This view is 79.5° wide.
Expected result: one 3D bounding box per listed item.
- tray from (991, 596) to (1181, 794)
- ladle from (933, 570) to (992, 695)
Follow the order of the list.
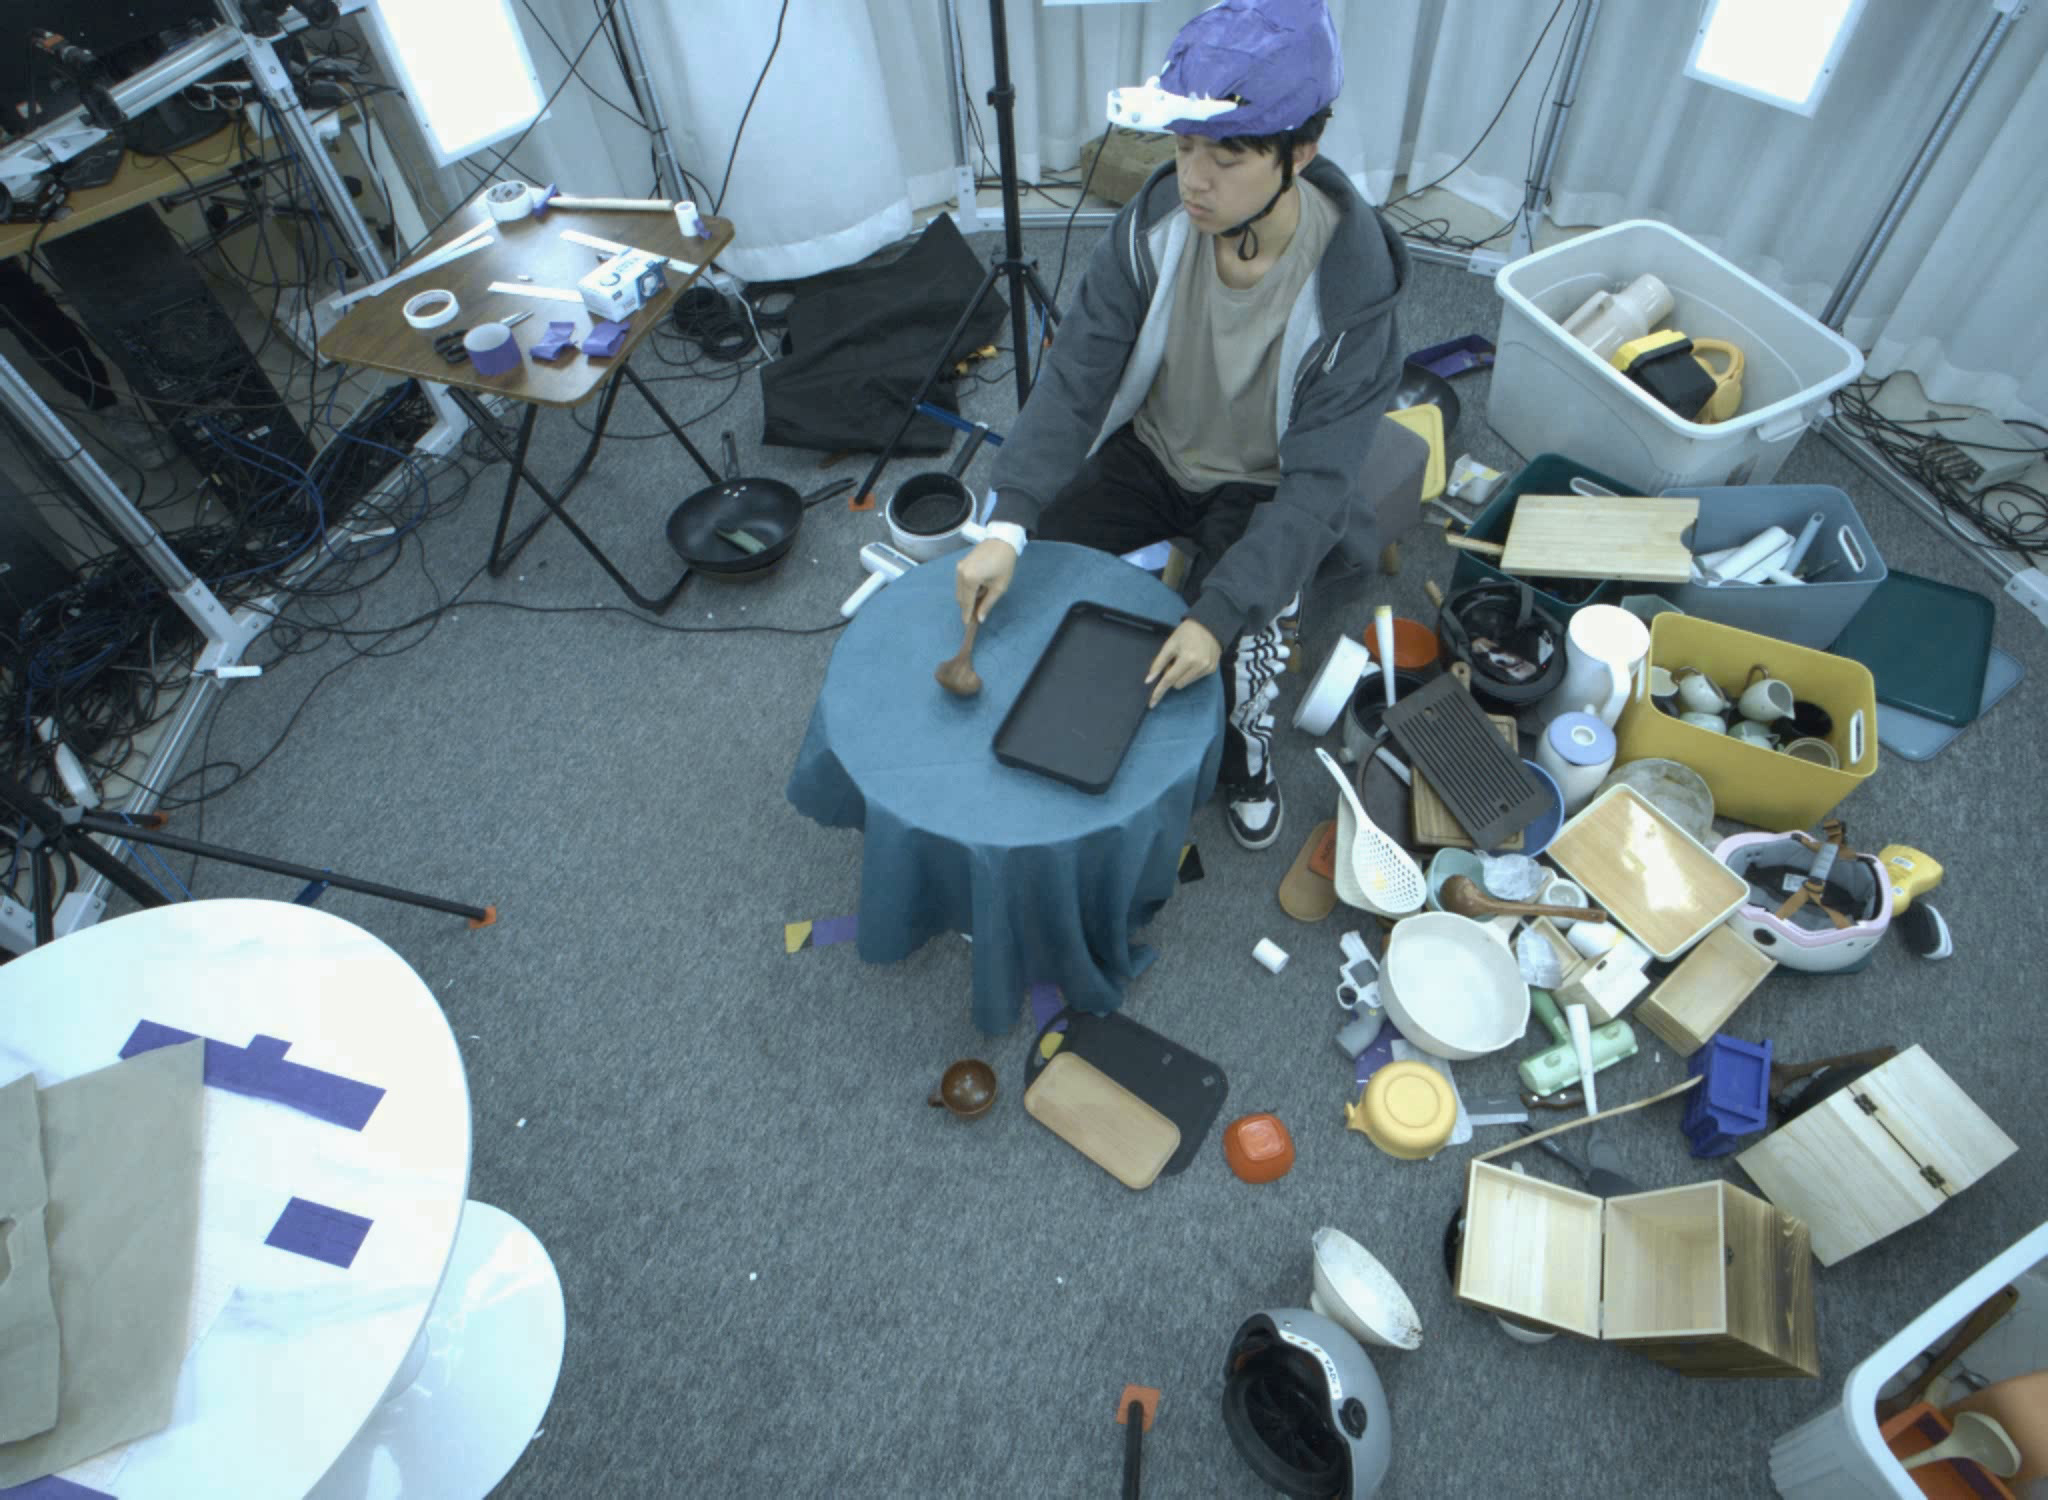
[{"bbox_3d":[0.096,-0.088,1.823,0.182,0.037,0.318,19,59,16],"label":"tray"},{"bbox_3d":[-0.080,-0.189,1.881,0.077,0.065,0.259,22,58,-13],"label":"ladle"}]
